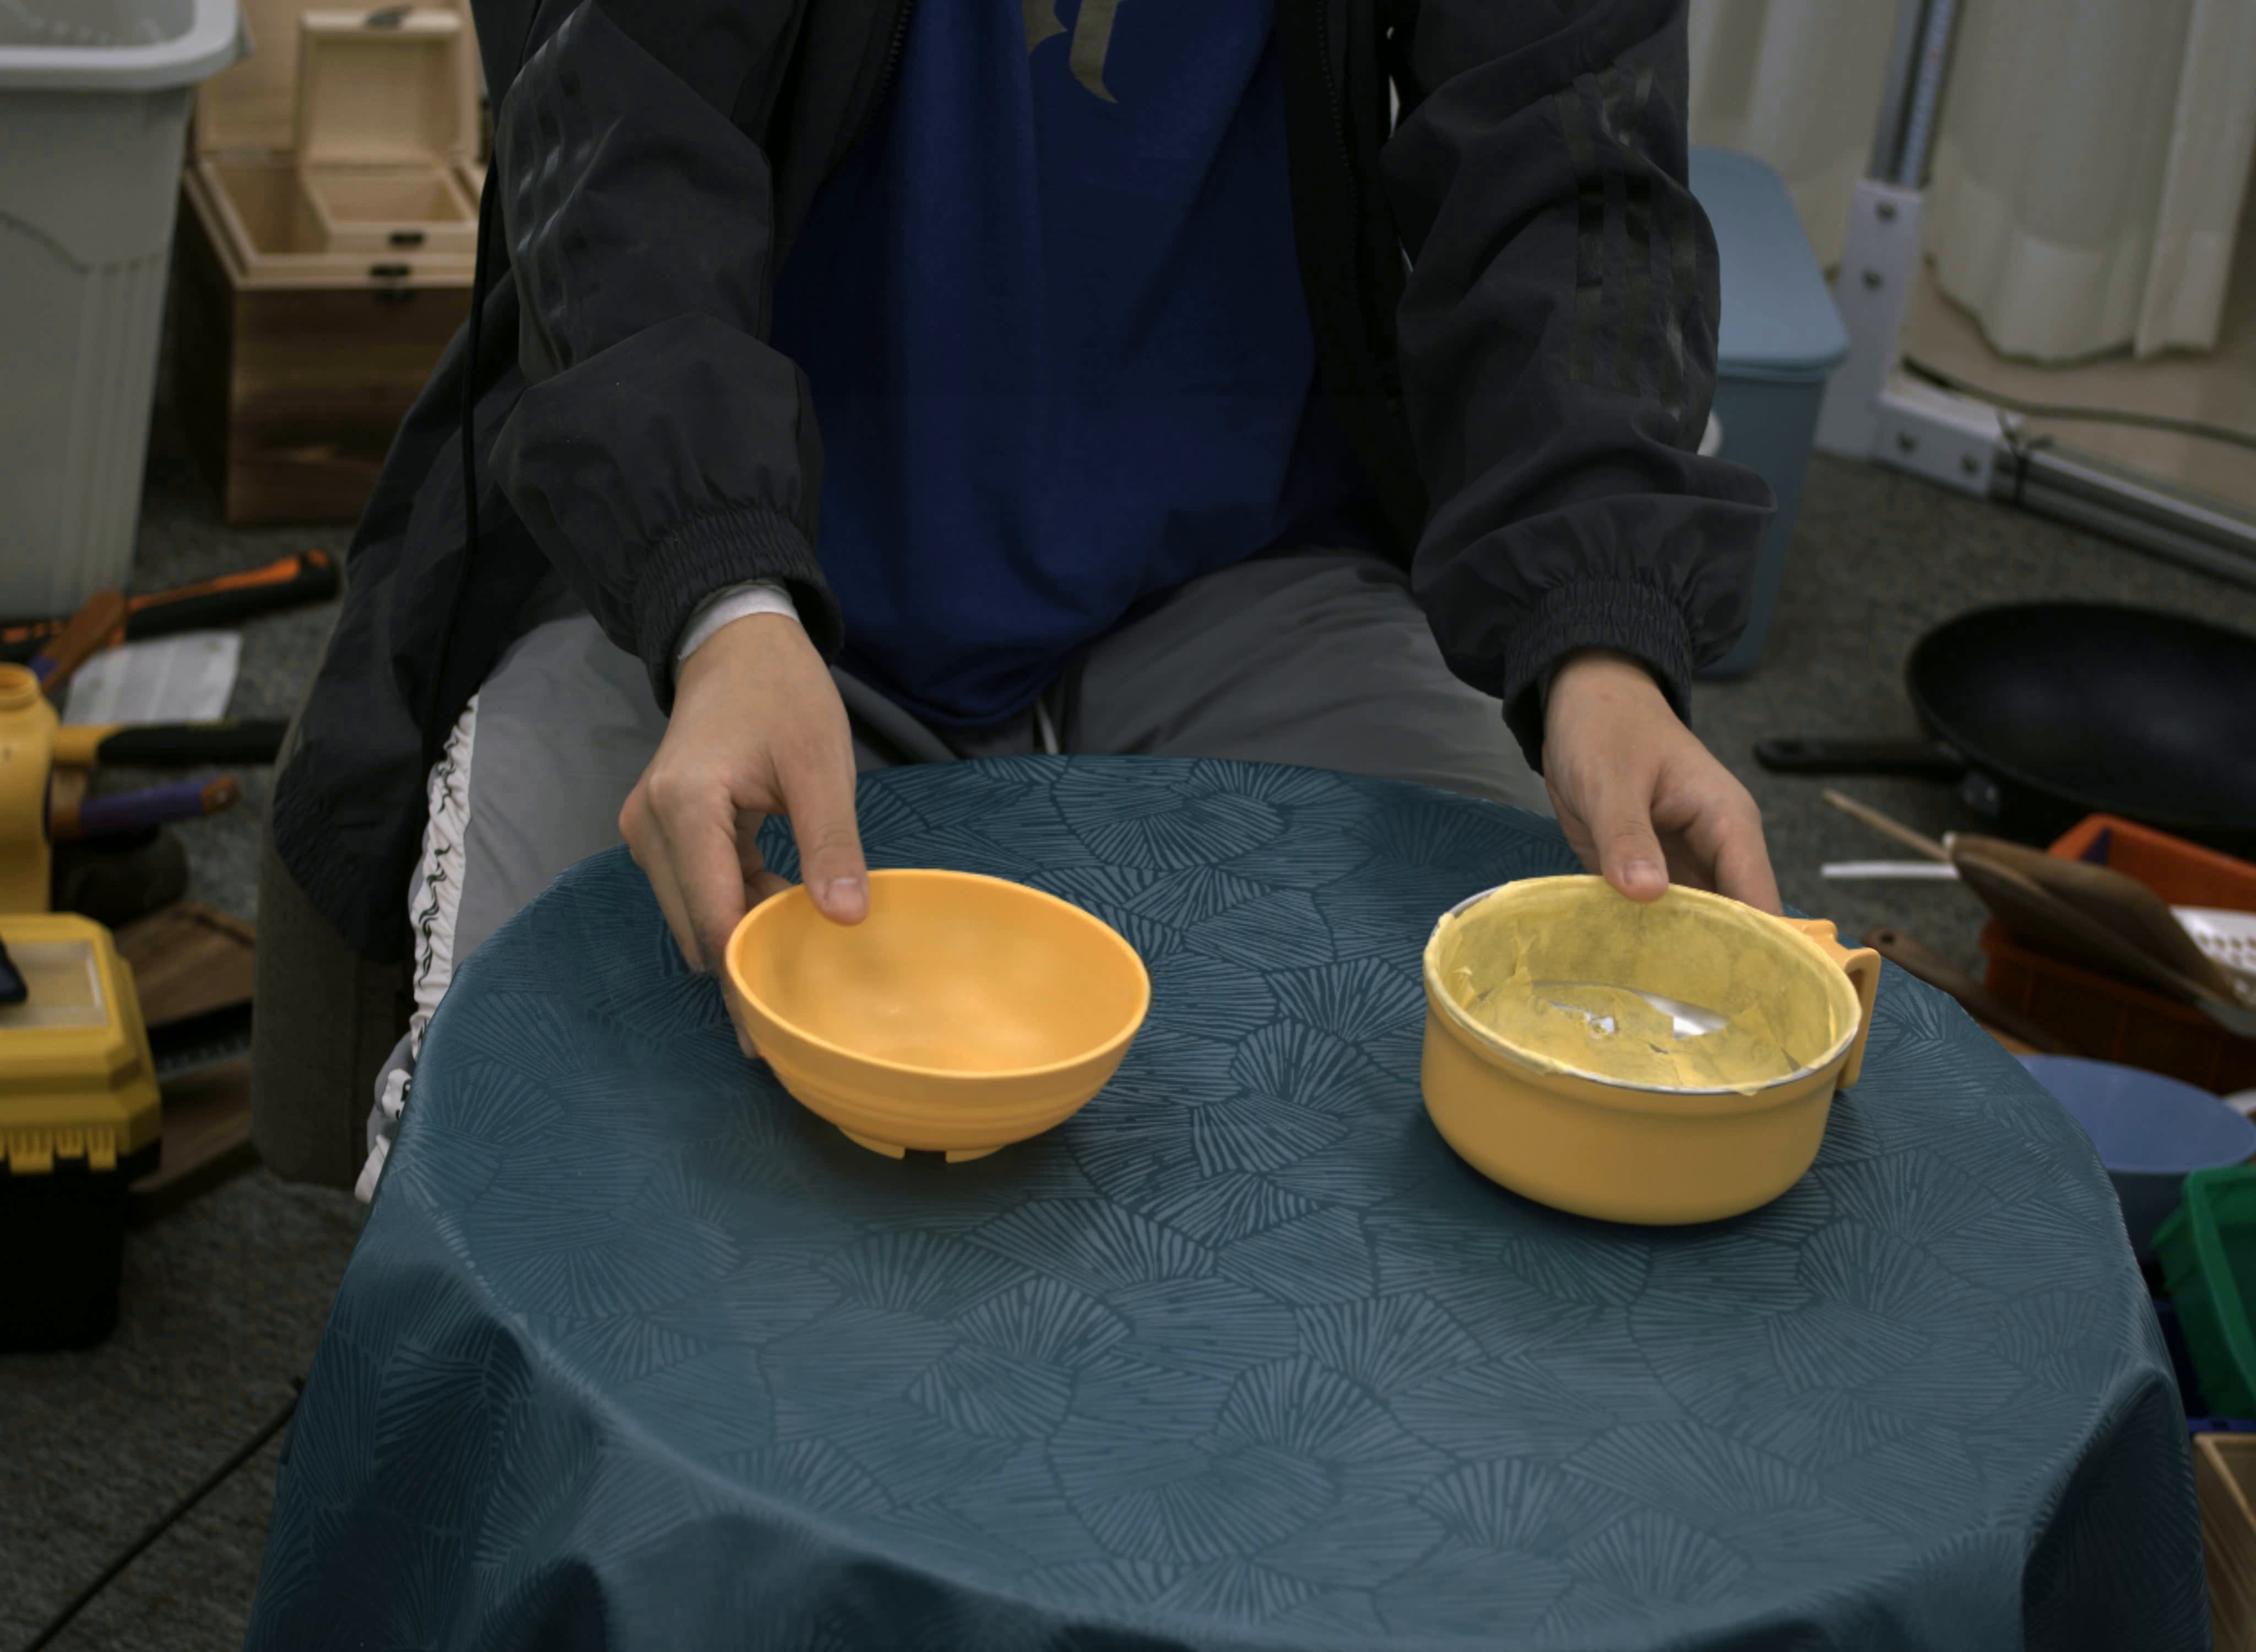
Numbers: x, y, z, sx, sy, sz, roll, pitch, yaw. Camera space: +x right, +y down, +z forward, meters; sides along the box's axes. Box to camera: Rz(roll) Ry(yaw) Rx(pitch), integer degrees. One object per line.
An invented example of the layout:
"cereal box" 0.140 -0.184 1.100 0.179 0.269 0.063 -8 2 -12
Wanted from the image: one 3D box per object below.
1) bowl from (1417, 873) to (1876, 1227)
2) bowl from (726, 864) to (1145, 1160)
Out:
"bowl" 0.185 0.079 1.857 0.178 0.074 0.154 -16 31 -36
"bowl" -0.069 0.073 1.823 0.145 0.060 0.146 8 27 -4
